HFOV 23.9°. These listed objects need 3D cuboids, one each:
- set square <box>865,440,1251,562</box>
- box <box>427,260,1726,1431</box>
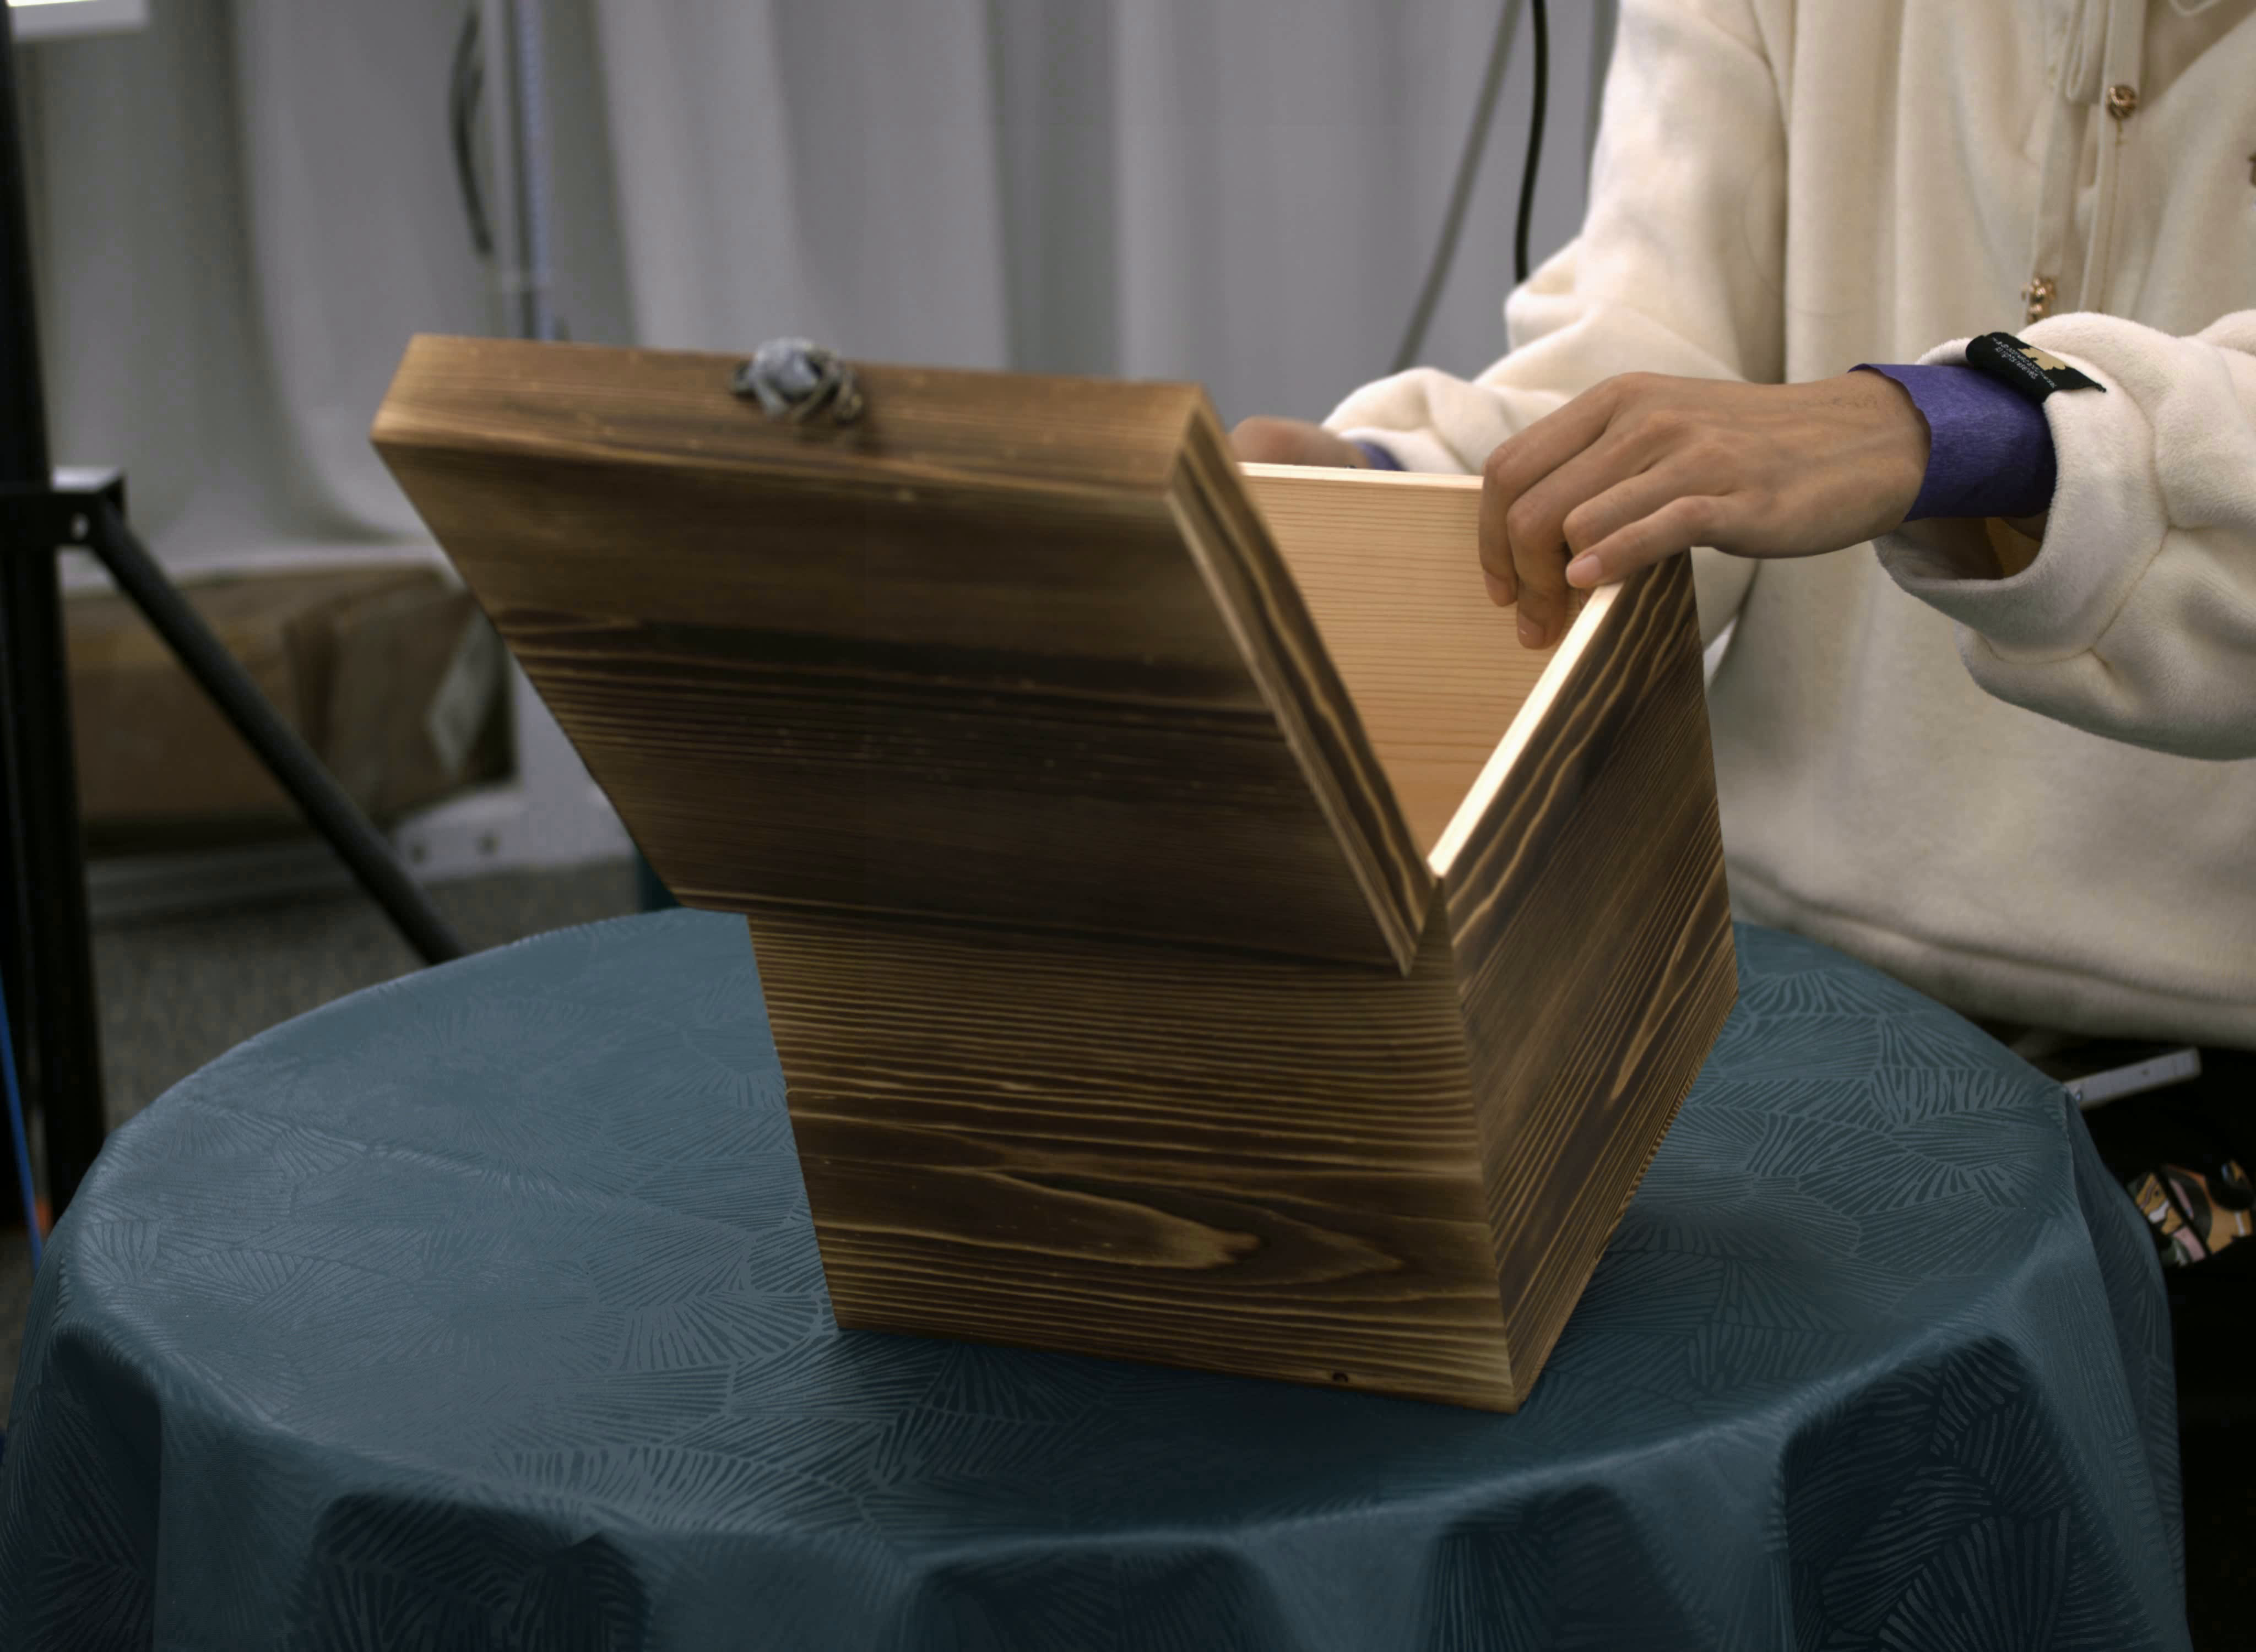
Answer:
[{"bbox_3d":[-0.015,-0.098,1.639,0.133,0.006,0.060,18,2,19],"label":"set square"},{"bbox_3d":[0.006,-0.030,1.368,0.212,0.372,0.320,5,34,24],"label":"box"}]
